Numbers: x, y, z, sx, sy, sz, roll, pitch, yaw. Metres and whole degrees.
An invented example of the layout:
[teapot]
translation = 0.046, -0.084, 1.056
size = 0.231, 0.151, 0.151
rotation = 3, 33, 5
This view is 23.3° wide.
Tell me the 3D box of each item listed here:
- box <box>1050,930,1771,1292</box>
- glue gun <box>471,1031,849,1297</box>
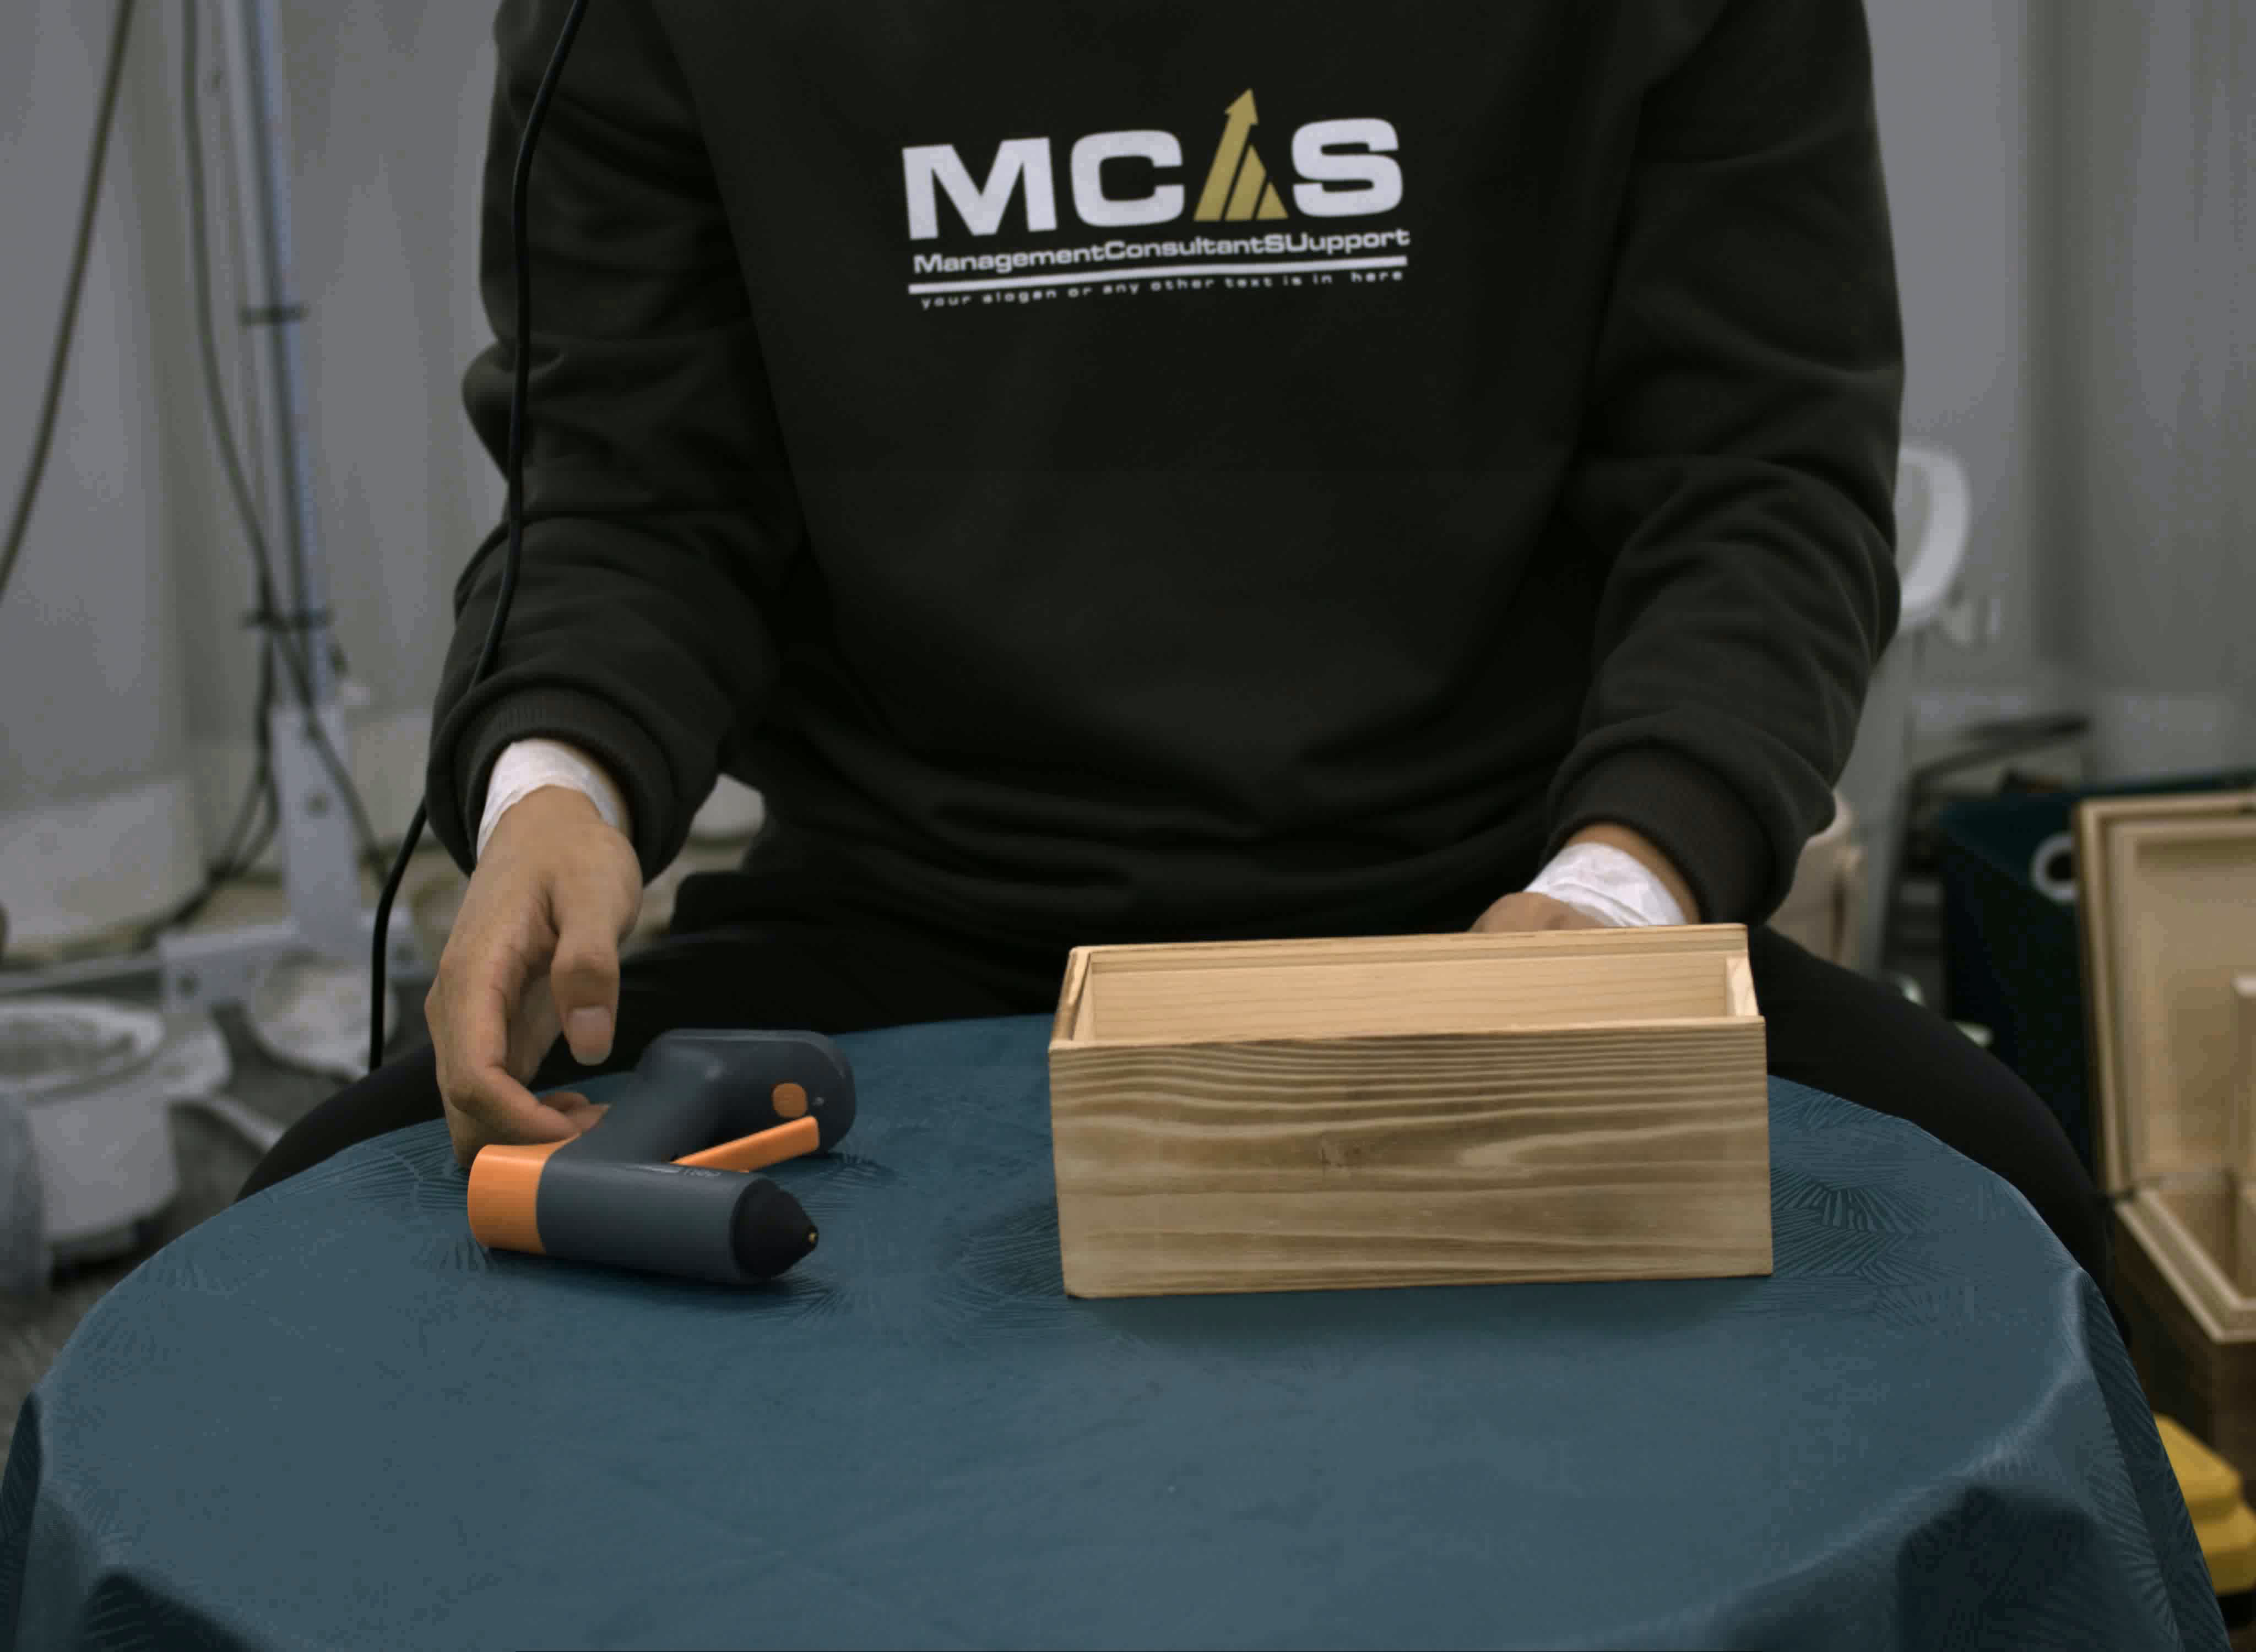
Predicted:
[box]
translation = 0.086, 0.085, 1.657
size = 0.211, 0.080, 0.108
rotation = -2, 14, 4
[glue gun]
translation = -0.134, 0.108, 1.708
size = 0.118, 0.041, 0.140
rotation = 3, 18, 13
